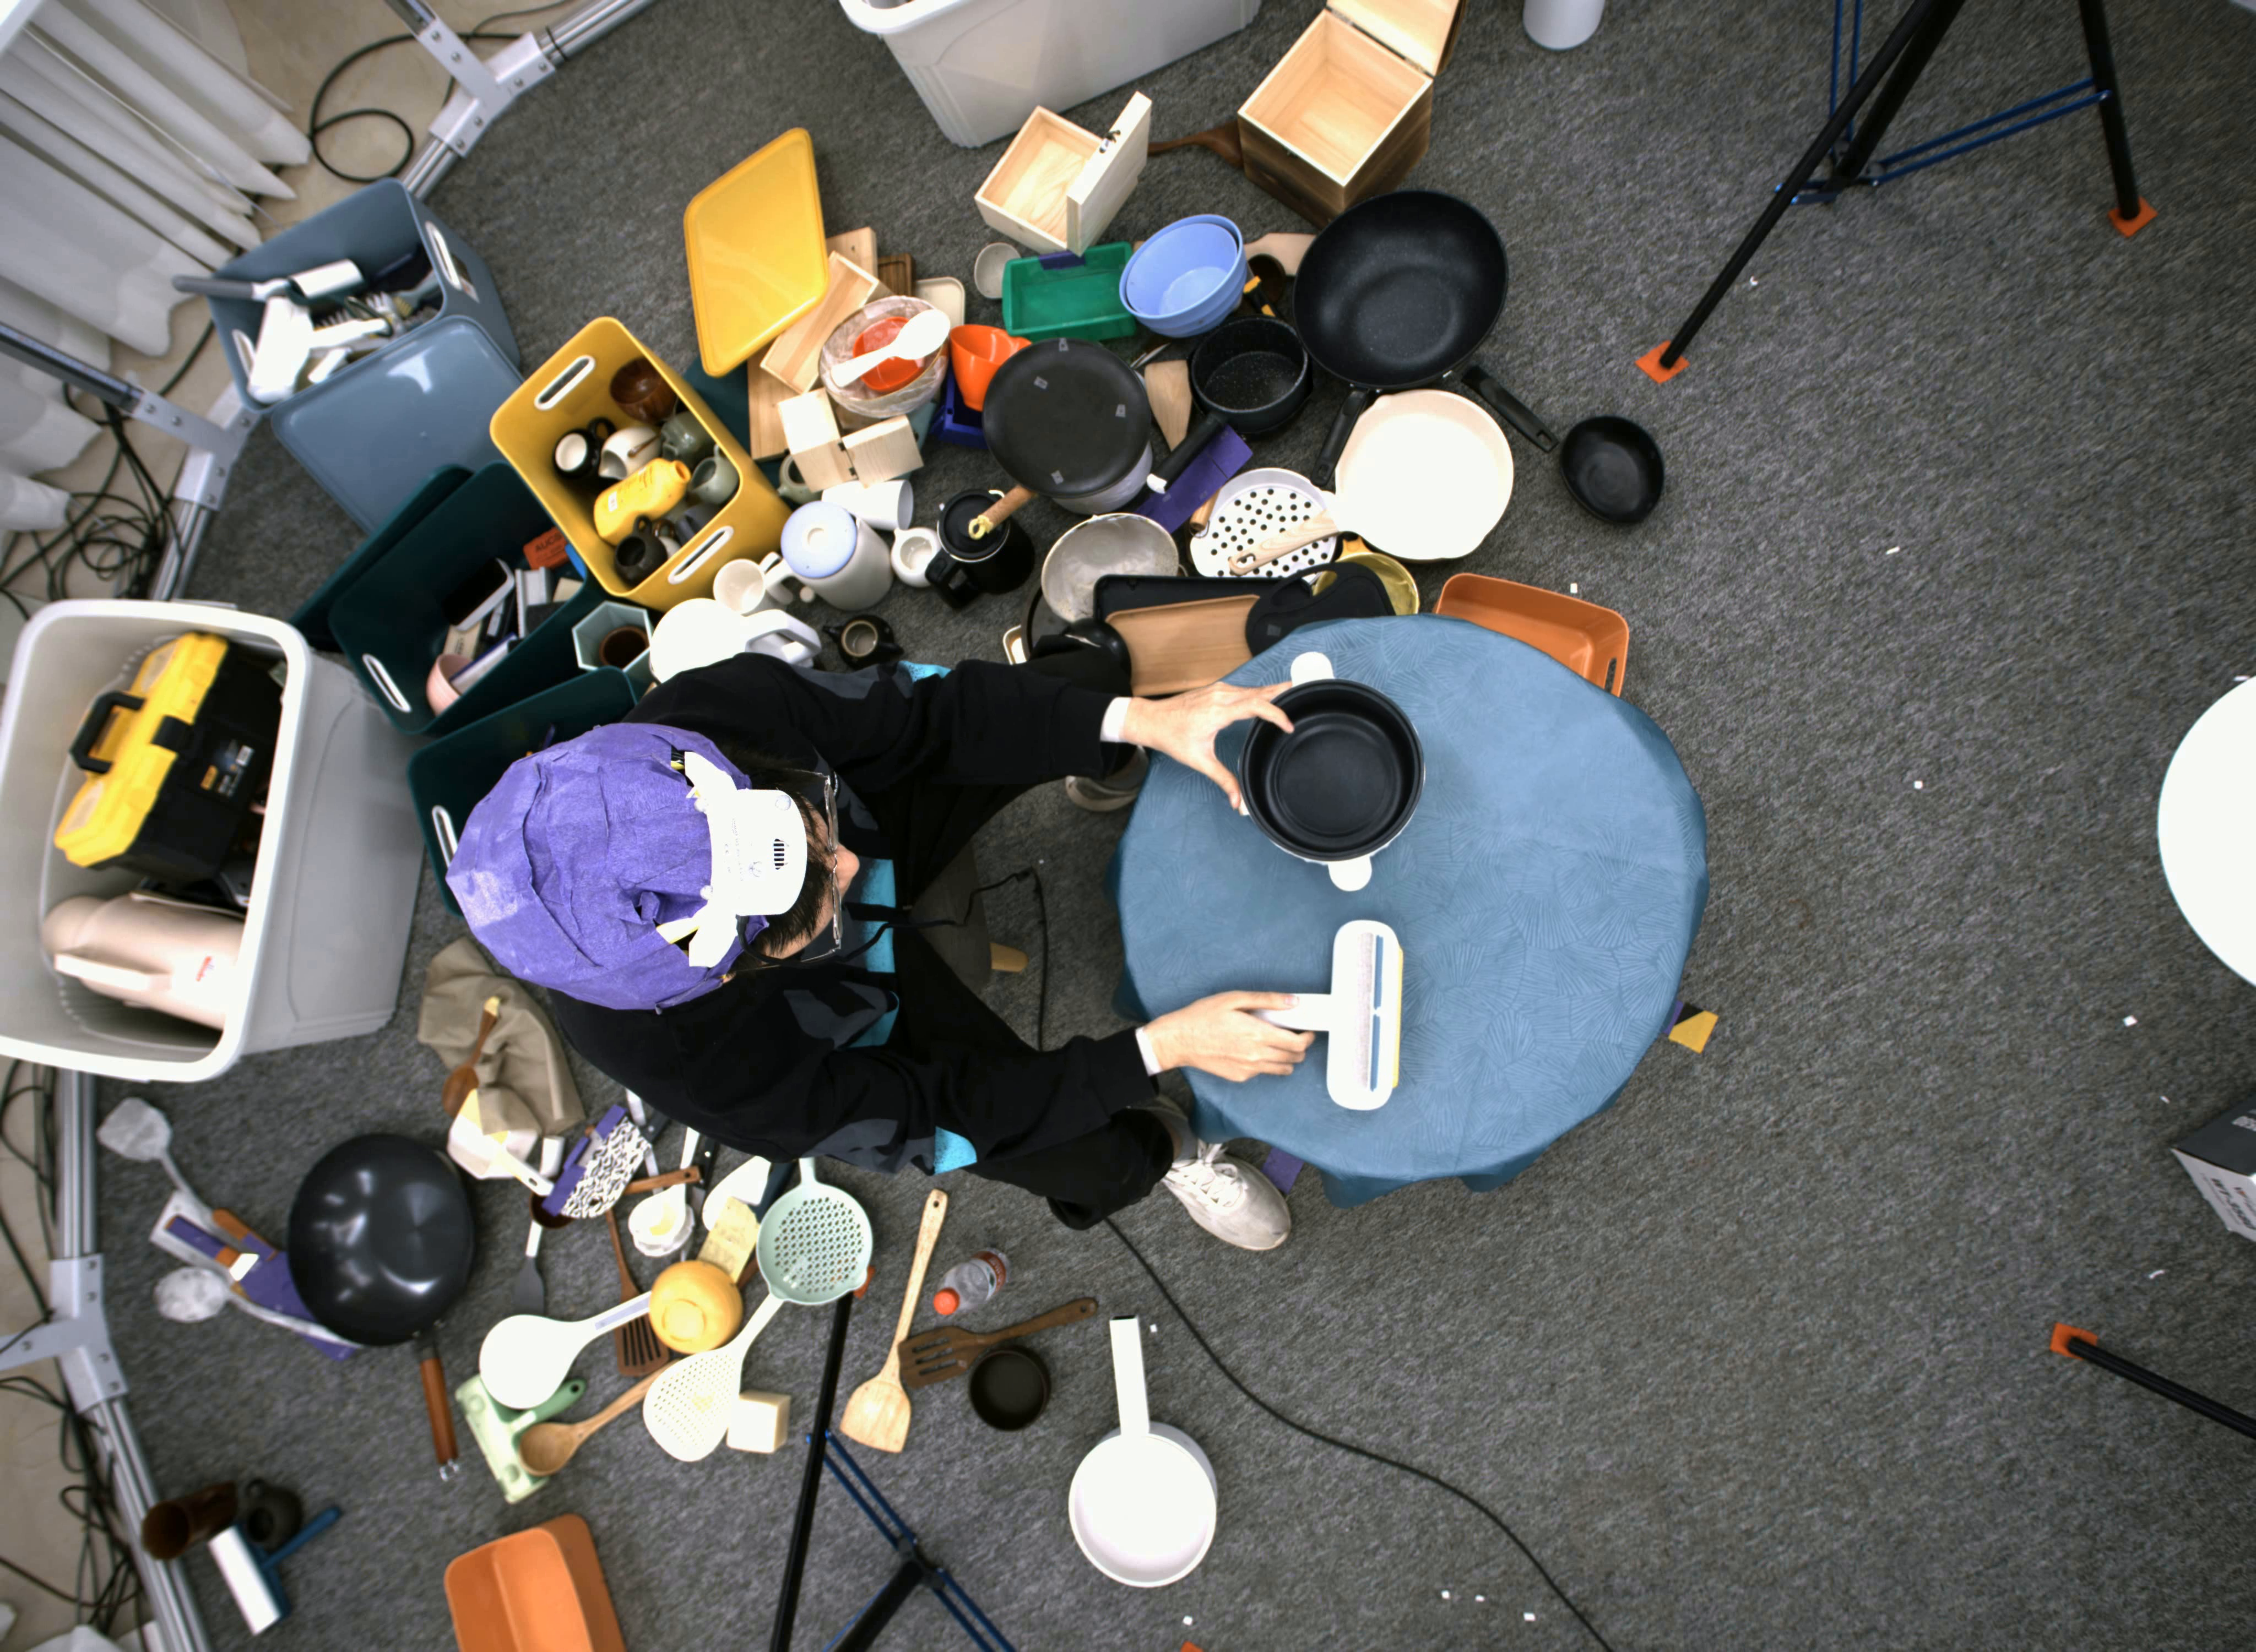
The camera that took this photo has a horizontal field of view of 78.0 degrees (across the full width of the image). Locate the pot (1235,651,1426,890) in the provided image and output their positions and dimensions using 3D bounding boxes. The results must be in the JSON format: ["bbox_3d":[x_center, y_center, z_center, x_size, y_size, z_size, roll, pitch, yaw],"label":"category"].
[{"bbox_3d":[0.202,-0.048,1.403,0.191,0.143,0.239,-12,83,6],"label":"pot"}]

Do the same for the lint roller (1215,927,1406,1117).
[{"bbox_3d":[0.183,0.194,1.431,0.193,0.074,0.191,6,81,12],"label":"lint roller"}]
